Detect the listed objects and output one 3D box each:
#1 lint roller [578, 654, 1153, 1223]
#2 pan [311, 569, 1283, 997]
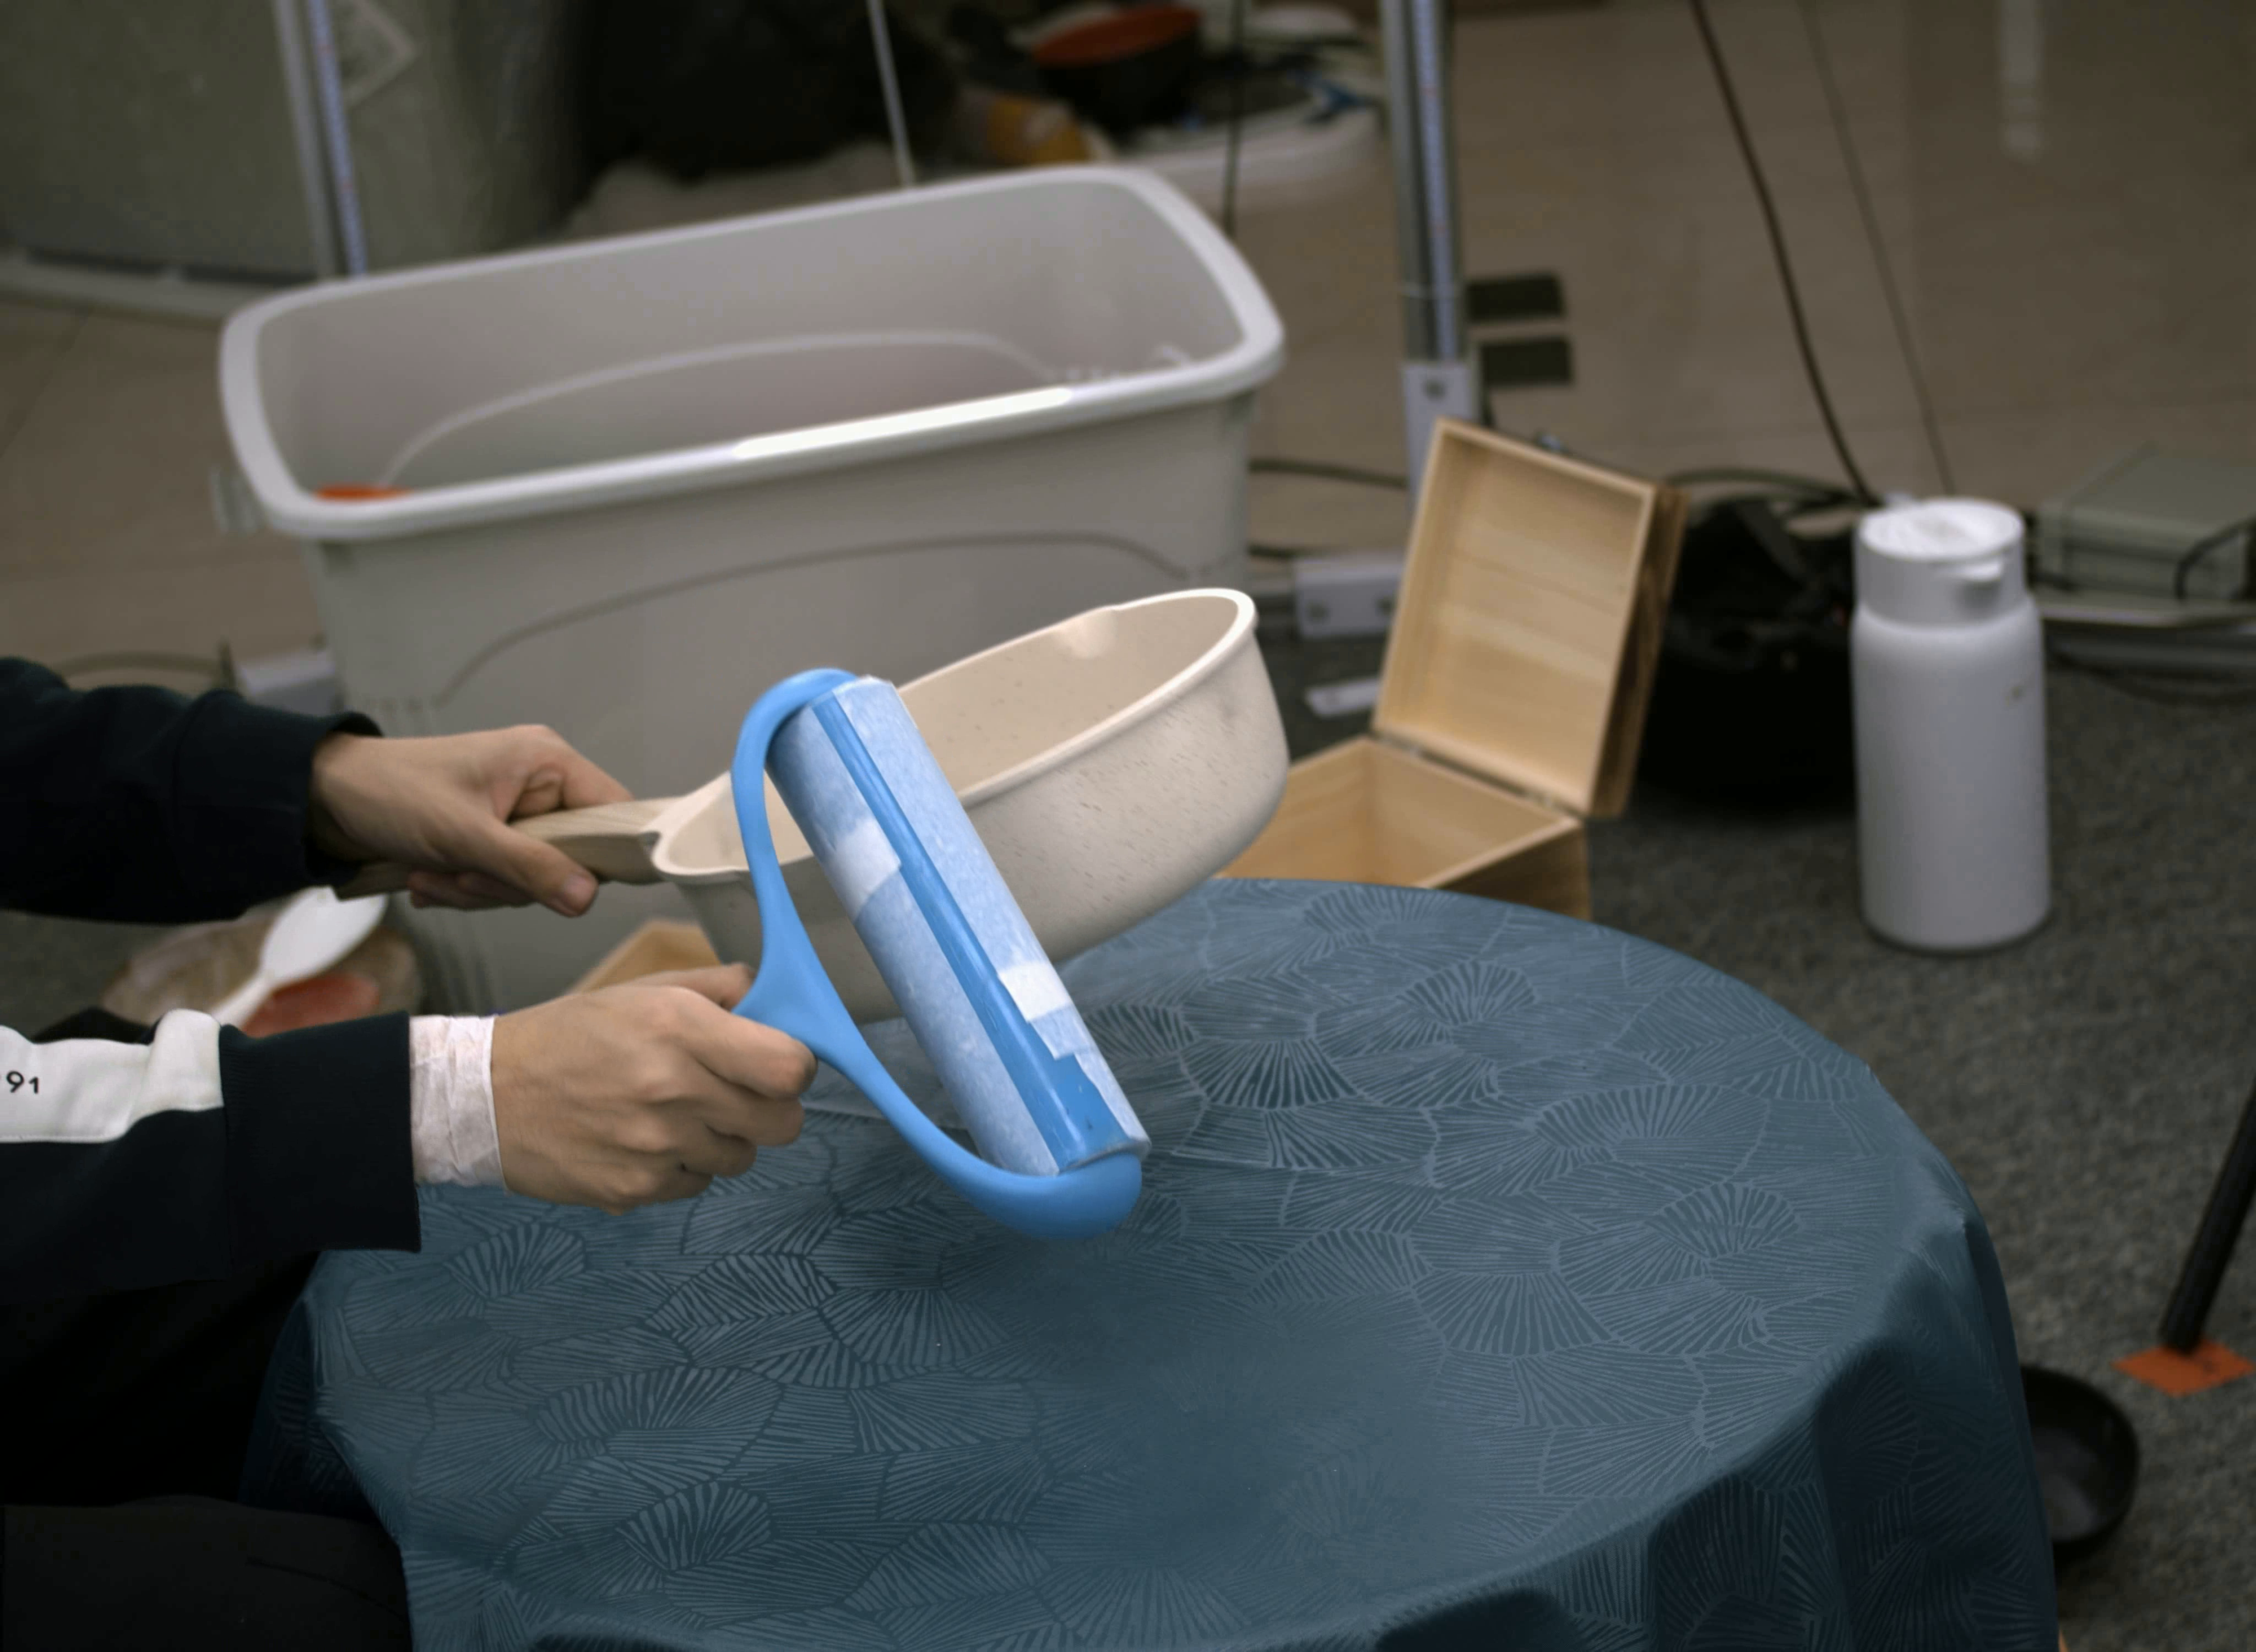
[{"bbox_3d":[-0.112,0.067,1.963,0.180,0.227,0.068,-31,-13,-6],"label":"lint roller"},{"bbox_3d":[-0.133,0.010,2.225,0.436,0.103,0.260,-17,16,31],"label":"pan"}]
